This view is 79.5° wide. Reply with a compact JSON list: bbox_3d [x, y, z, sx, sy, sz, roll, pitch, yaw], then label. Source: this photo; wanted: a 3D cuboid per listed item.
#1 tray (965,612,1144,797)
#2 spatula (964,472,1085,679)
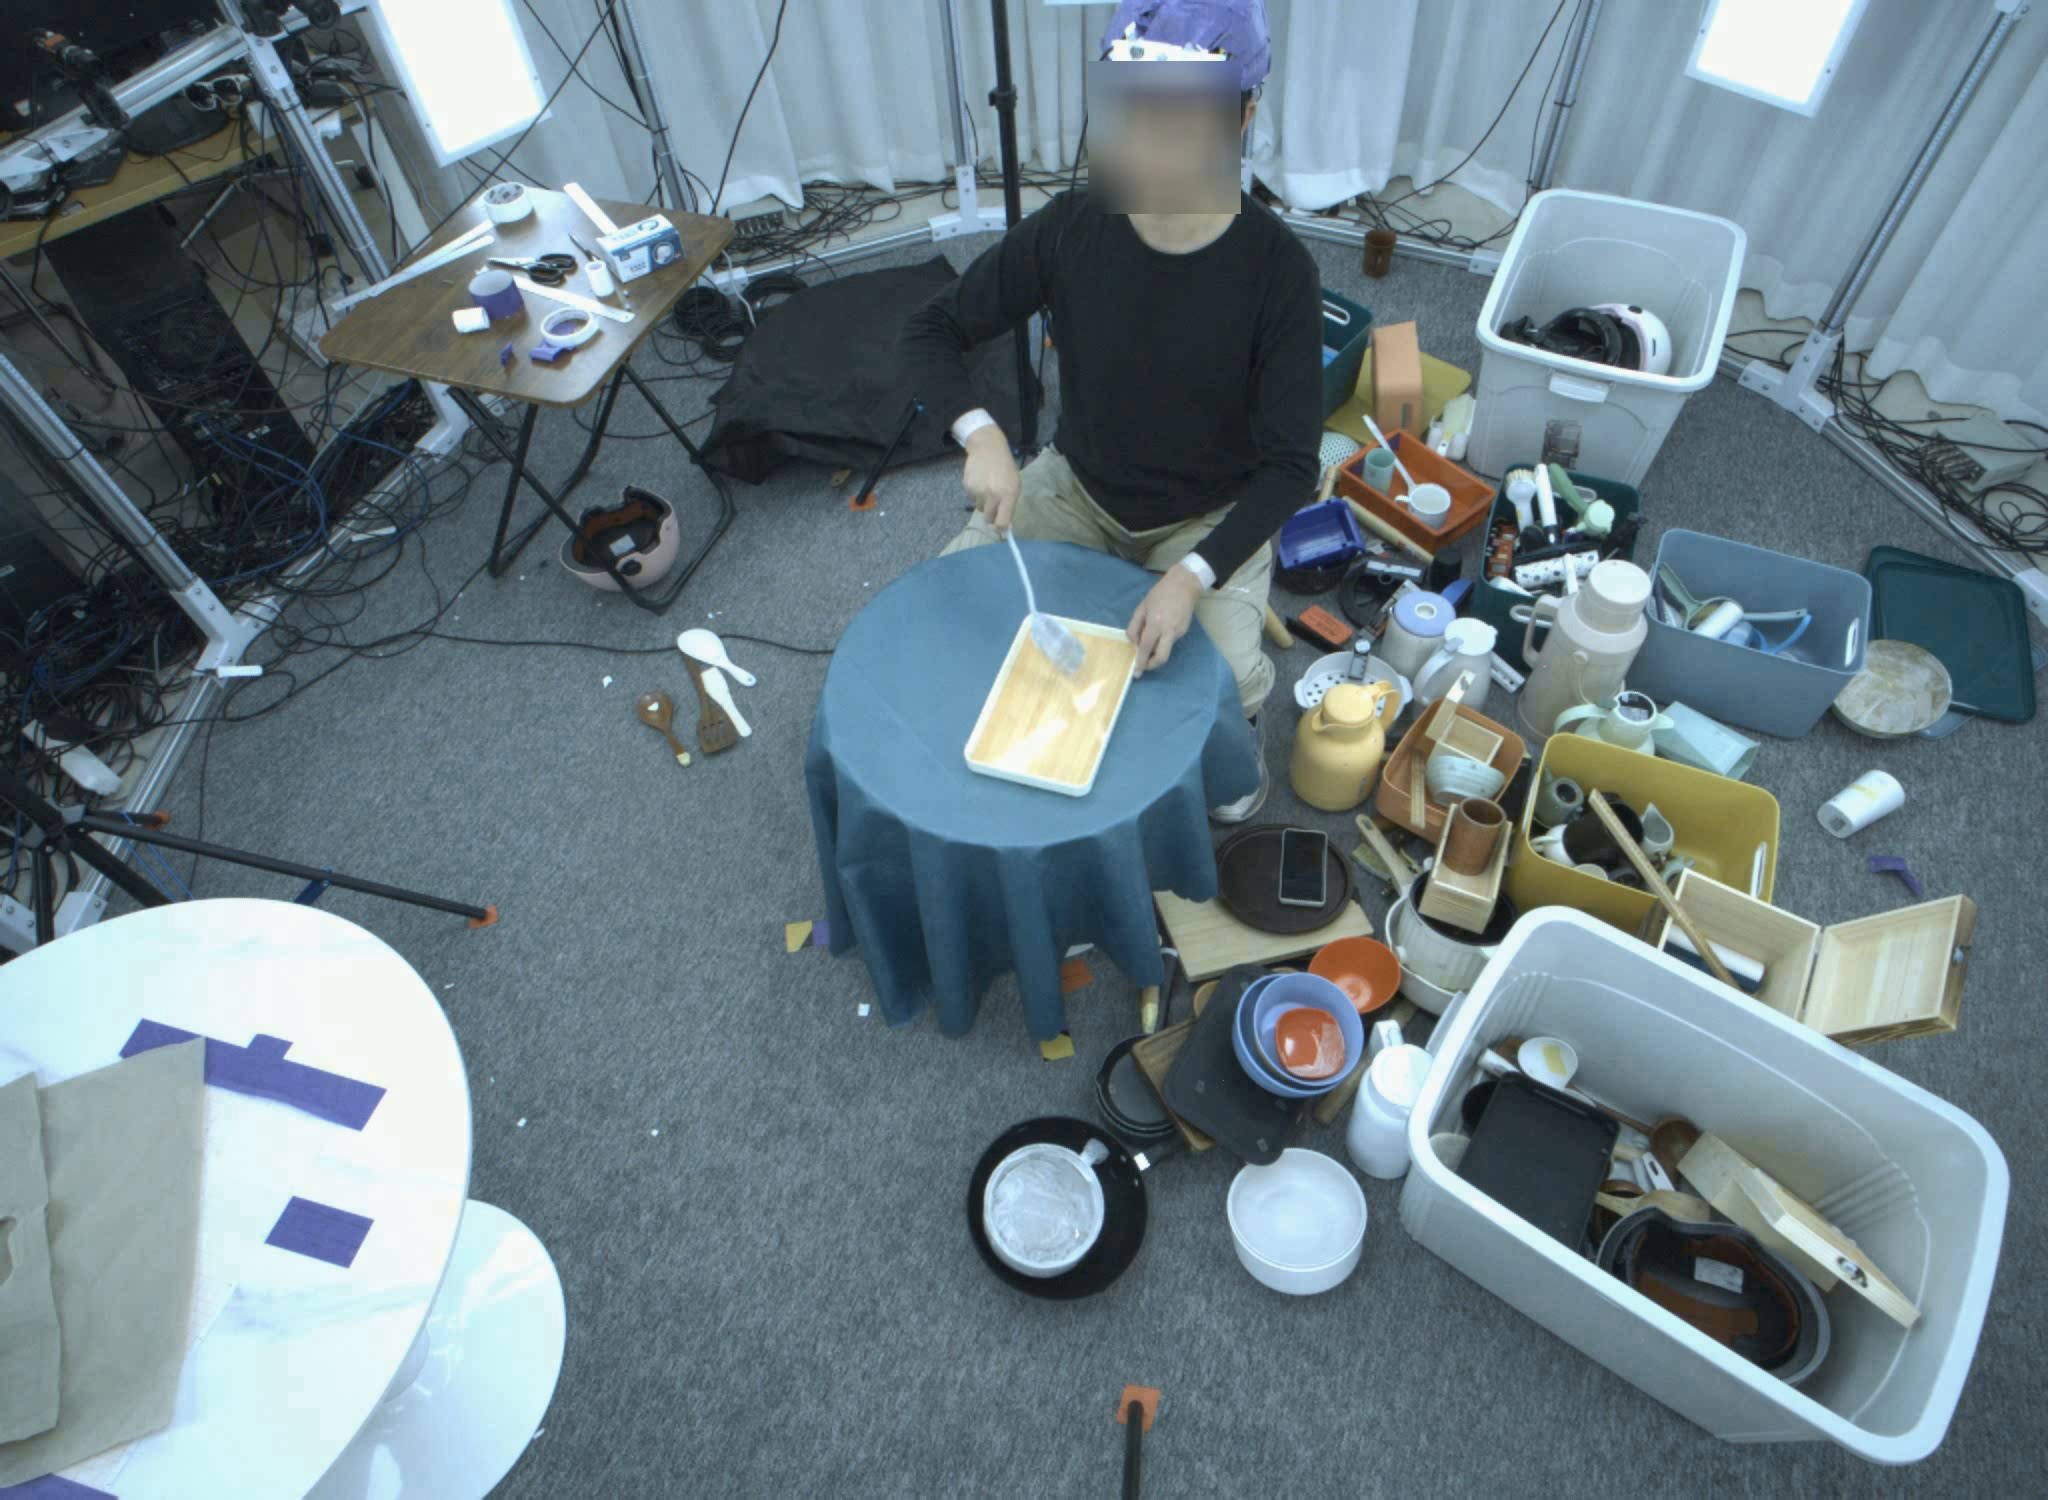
[{"bbox_3d":[0.049,-0.073,1.820,0.190,0.028,0.300,14,57,13],"label":"tray"},{"bbox_3d":[-0.005,-0.272,1.824,0.045,0.098,0.362,-17,77,-23],"label":"spatula"}]
